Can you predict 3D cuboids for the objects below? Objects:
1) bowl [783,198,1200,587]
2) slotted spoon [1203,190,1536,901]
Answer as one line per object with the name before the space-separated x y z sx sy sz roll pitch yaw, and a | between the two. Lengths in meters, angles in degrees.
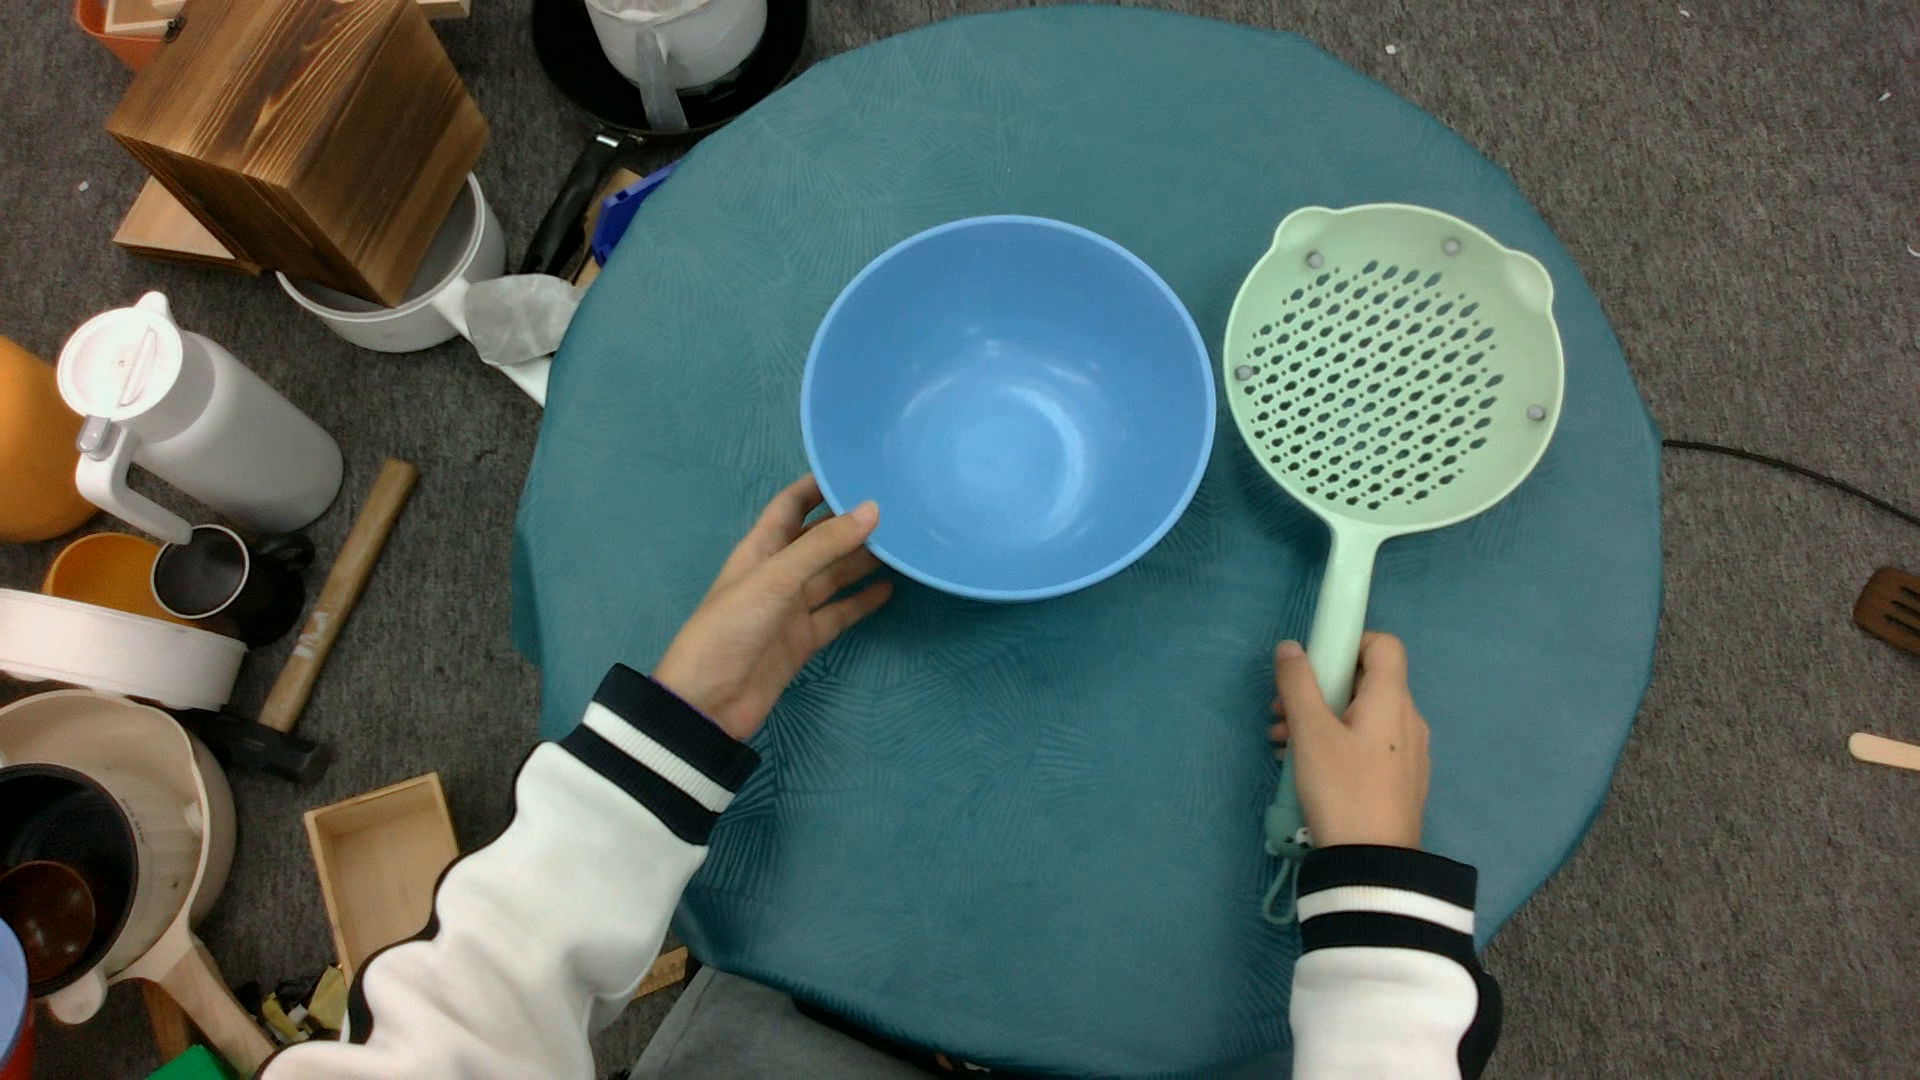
bowl | 0.015 -0.061 0.691 0.196 0.095 0.197 0 73 -1
slotted spoon | 0.184 -0.001 0.689 0.169 0.075 0.360 13 72 2
